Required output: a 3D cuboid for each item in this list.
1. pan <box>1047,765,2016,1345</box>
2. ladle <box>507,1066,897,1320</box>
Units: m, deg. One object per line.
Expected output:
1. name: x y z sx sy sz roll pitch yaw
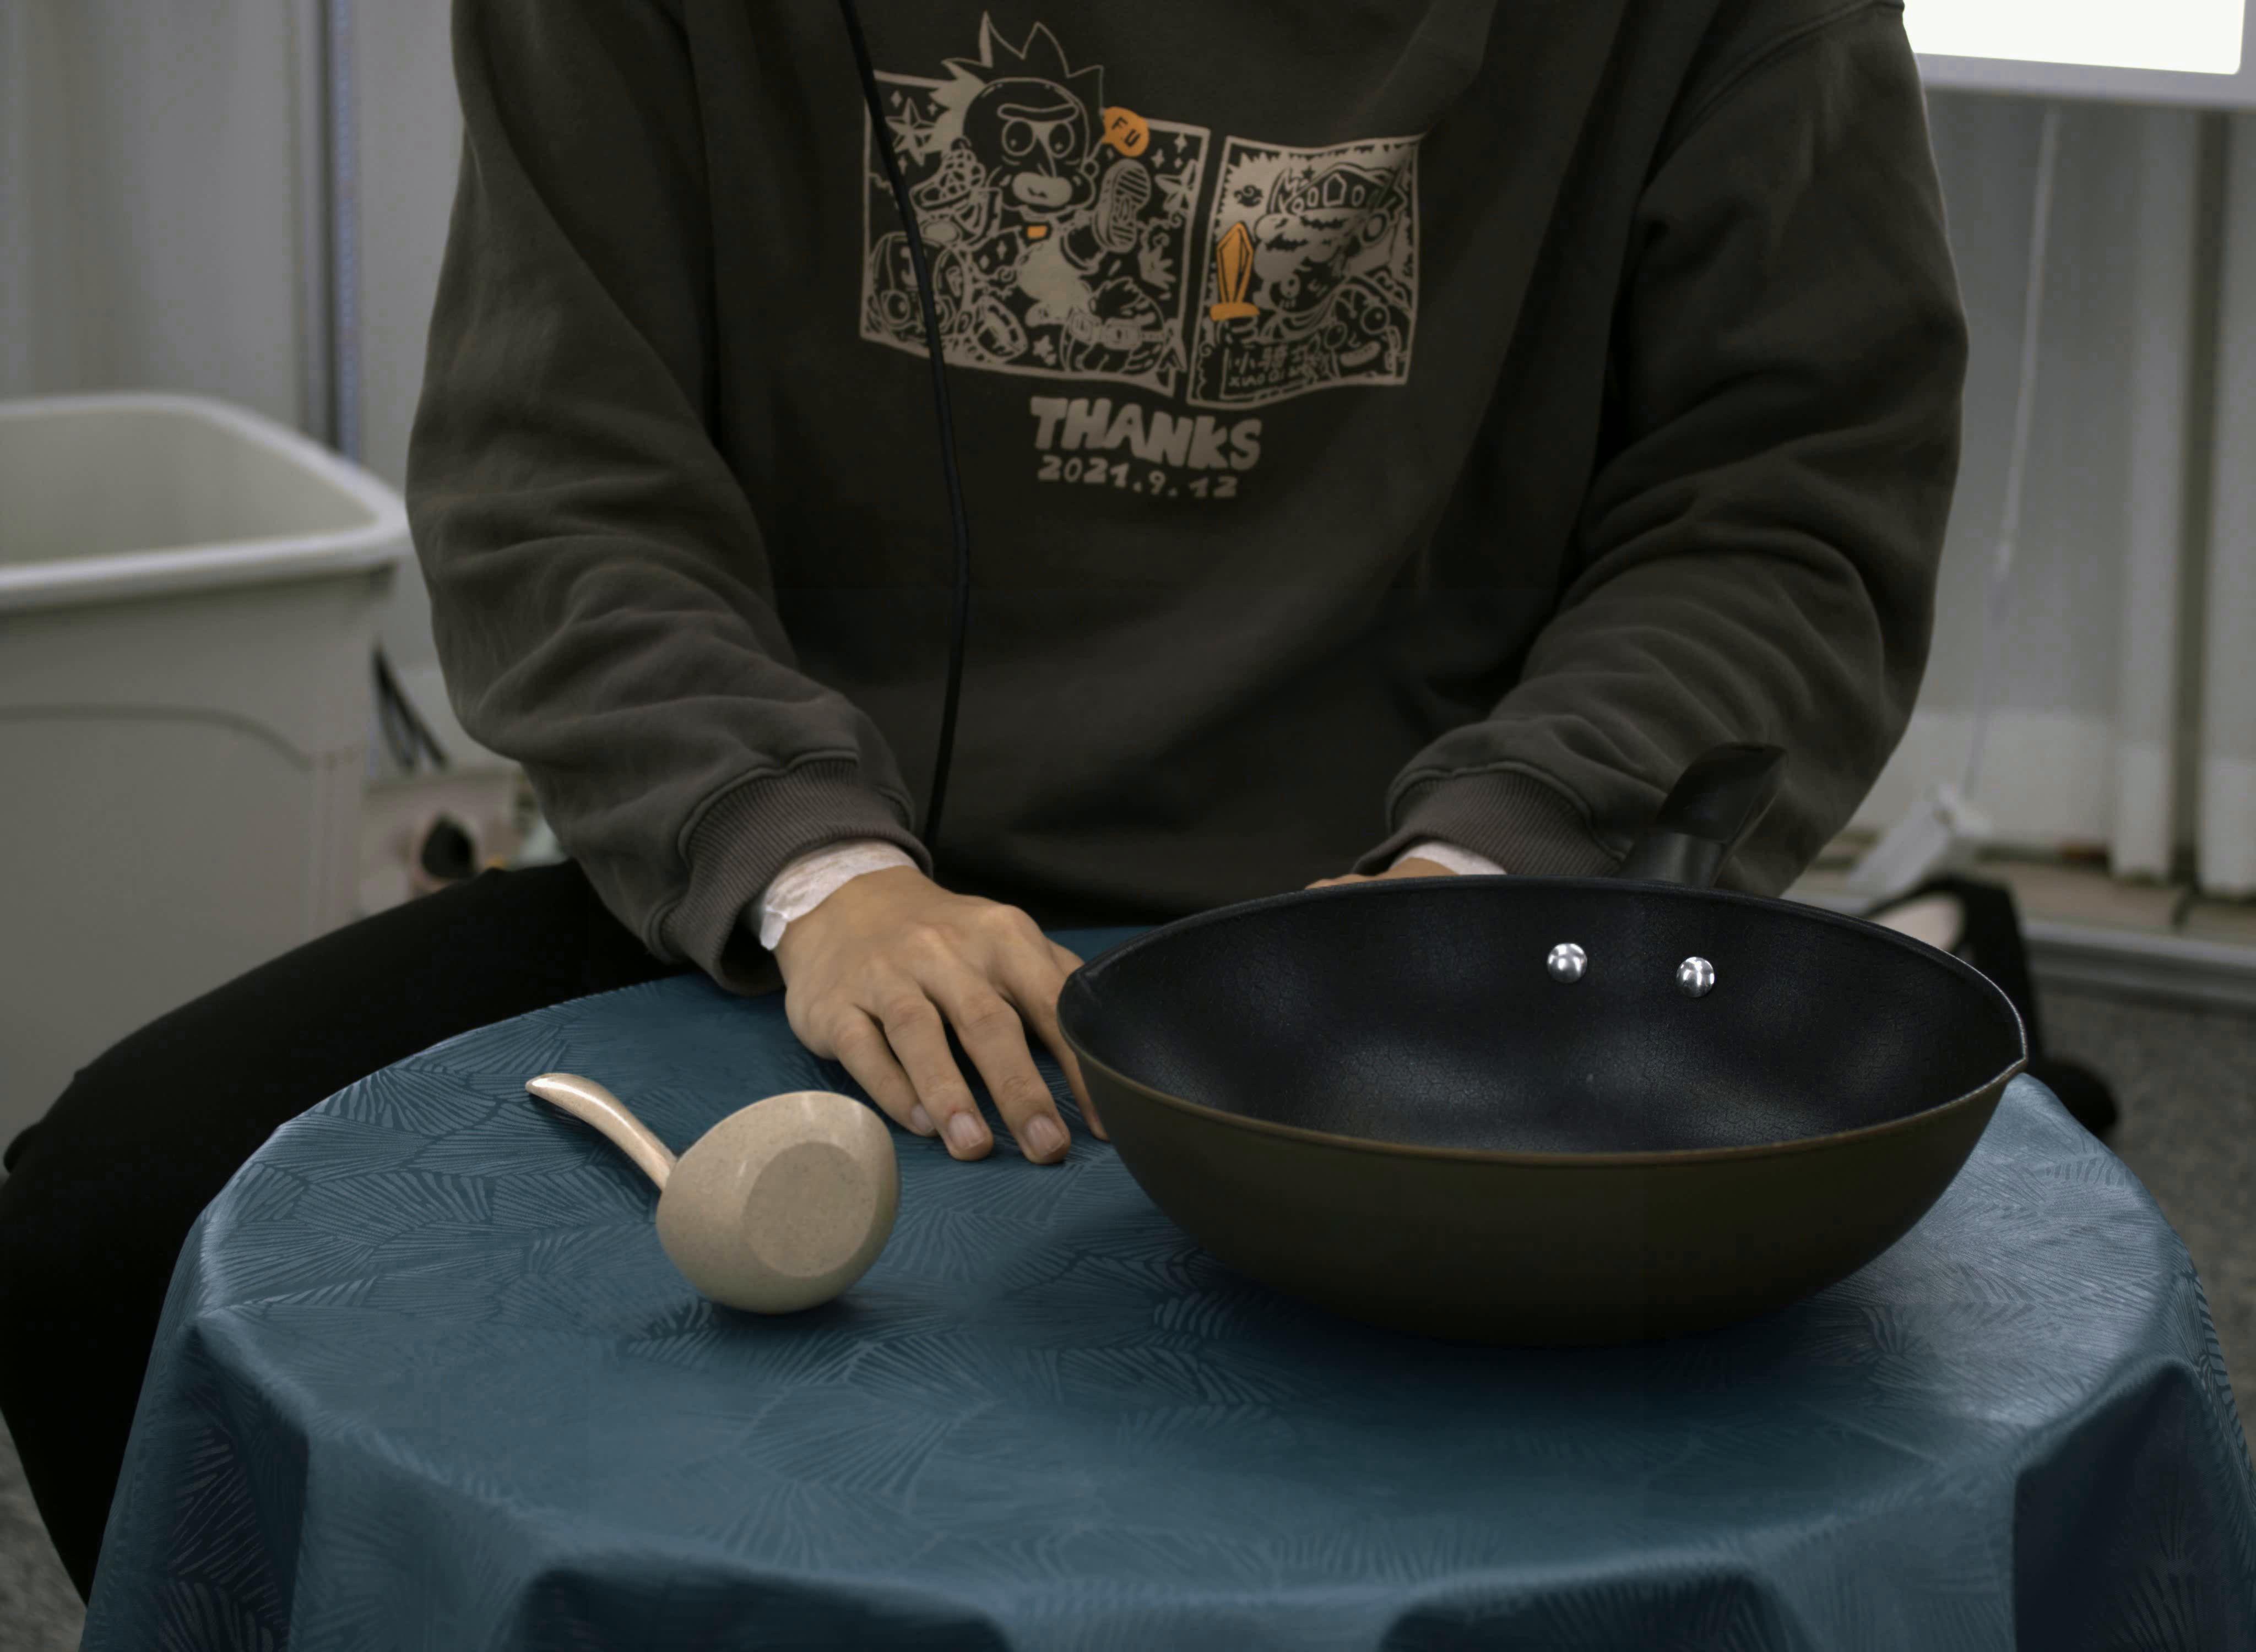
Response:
1. pan: 0.145 0.068 1.642 0.285 0.087 0.463 5 15 17
2. ladle: -0.144 0.082 1.599 0.072 0.073 0.251 -14 21 -23
